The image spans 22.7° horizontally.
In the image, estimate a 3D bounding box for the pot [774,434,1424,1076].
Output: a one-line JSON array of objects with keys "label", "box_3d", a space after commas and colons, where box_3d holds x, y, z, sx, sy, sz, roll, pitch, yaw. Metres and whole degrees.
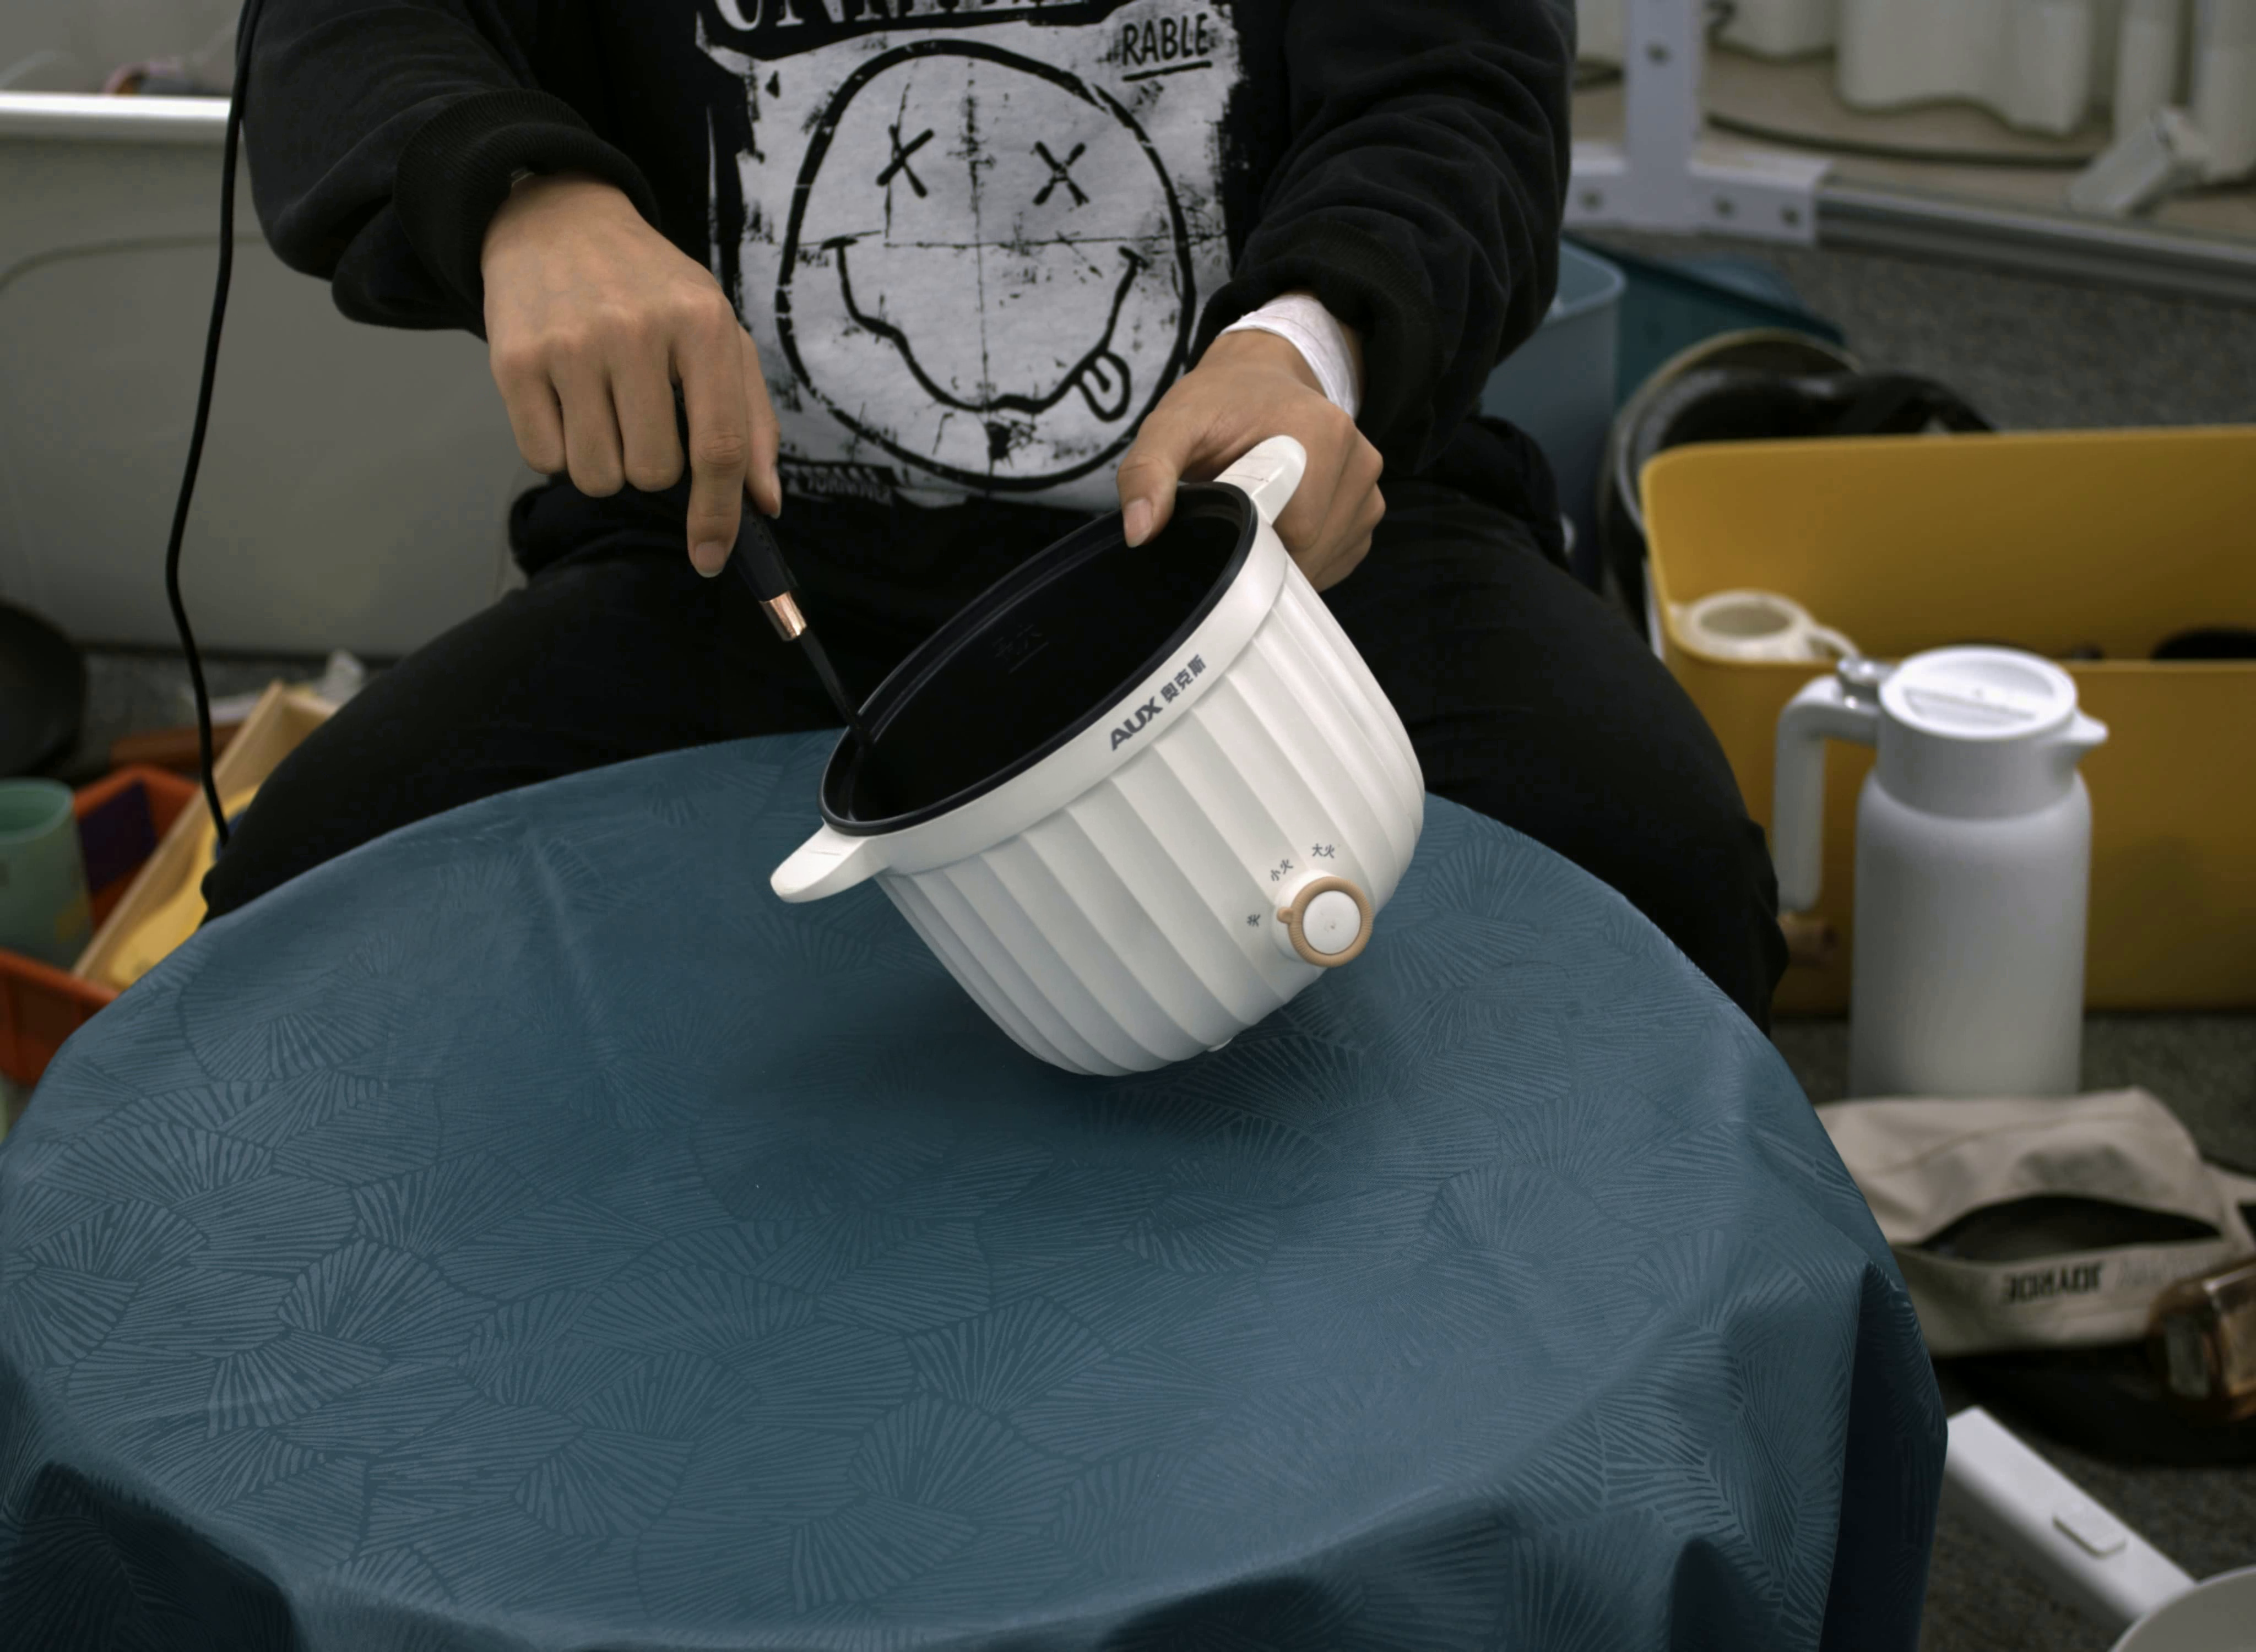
[{"label": "pot", "box_3d": [0.008, -0.010, 1.912, 0.242, 0.142, 0.189, -43, 16, -15]}]

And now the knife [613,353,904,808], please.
[{"label": "knife", "box_3d": [-0.113, -0.064, 1.930, 0.017, 0.225, 0.026, -32, 8, -4]}]
